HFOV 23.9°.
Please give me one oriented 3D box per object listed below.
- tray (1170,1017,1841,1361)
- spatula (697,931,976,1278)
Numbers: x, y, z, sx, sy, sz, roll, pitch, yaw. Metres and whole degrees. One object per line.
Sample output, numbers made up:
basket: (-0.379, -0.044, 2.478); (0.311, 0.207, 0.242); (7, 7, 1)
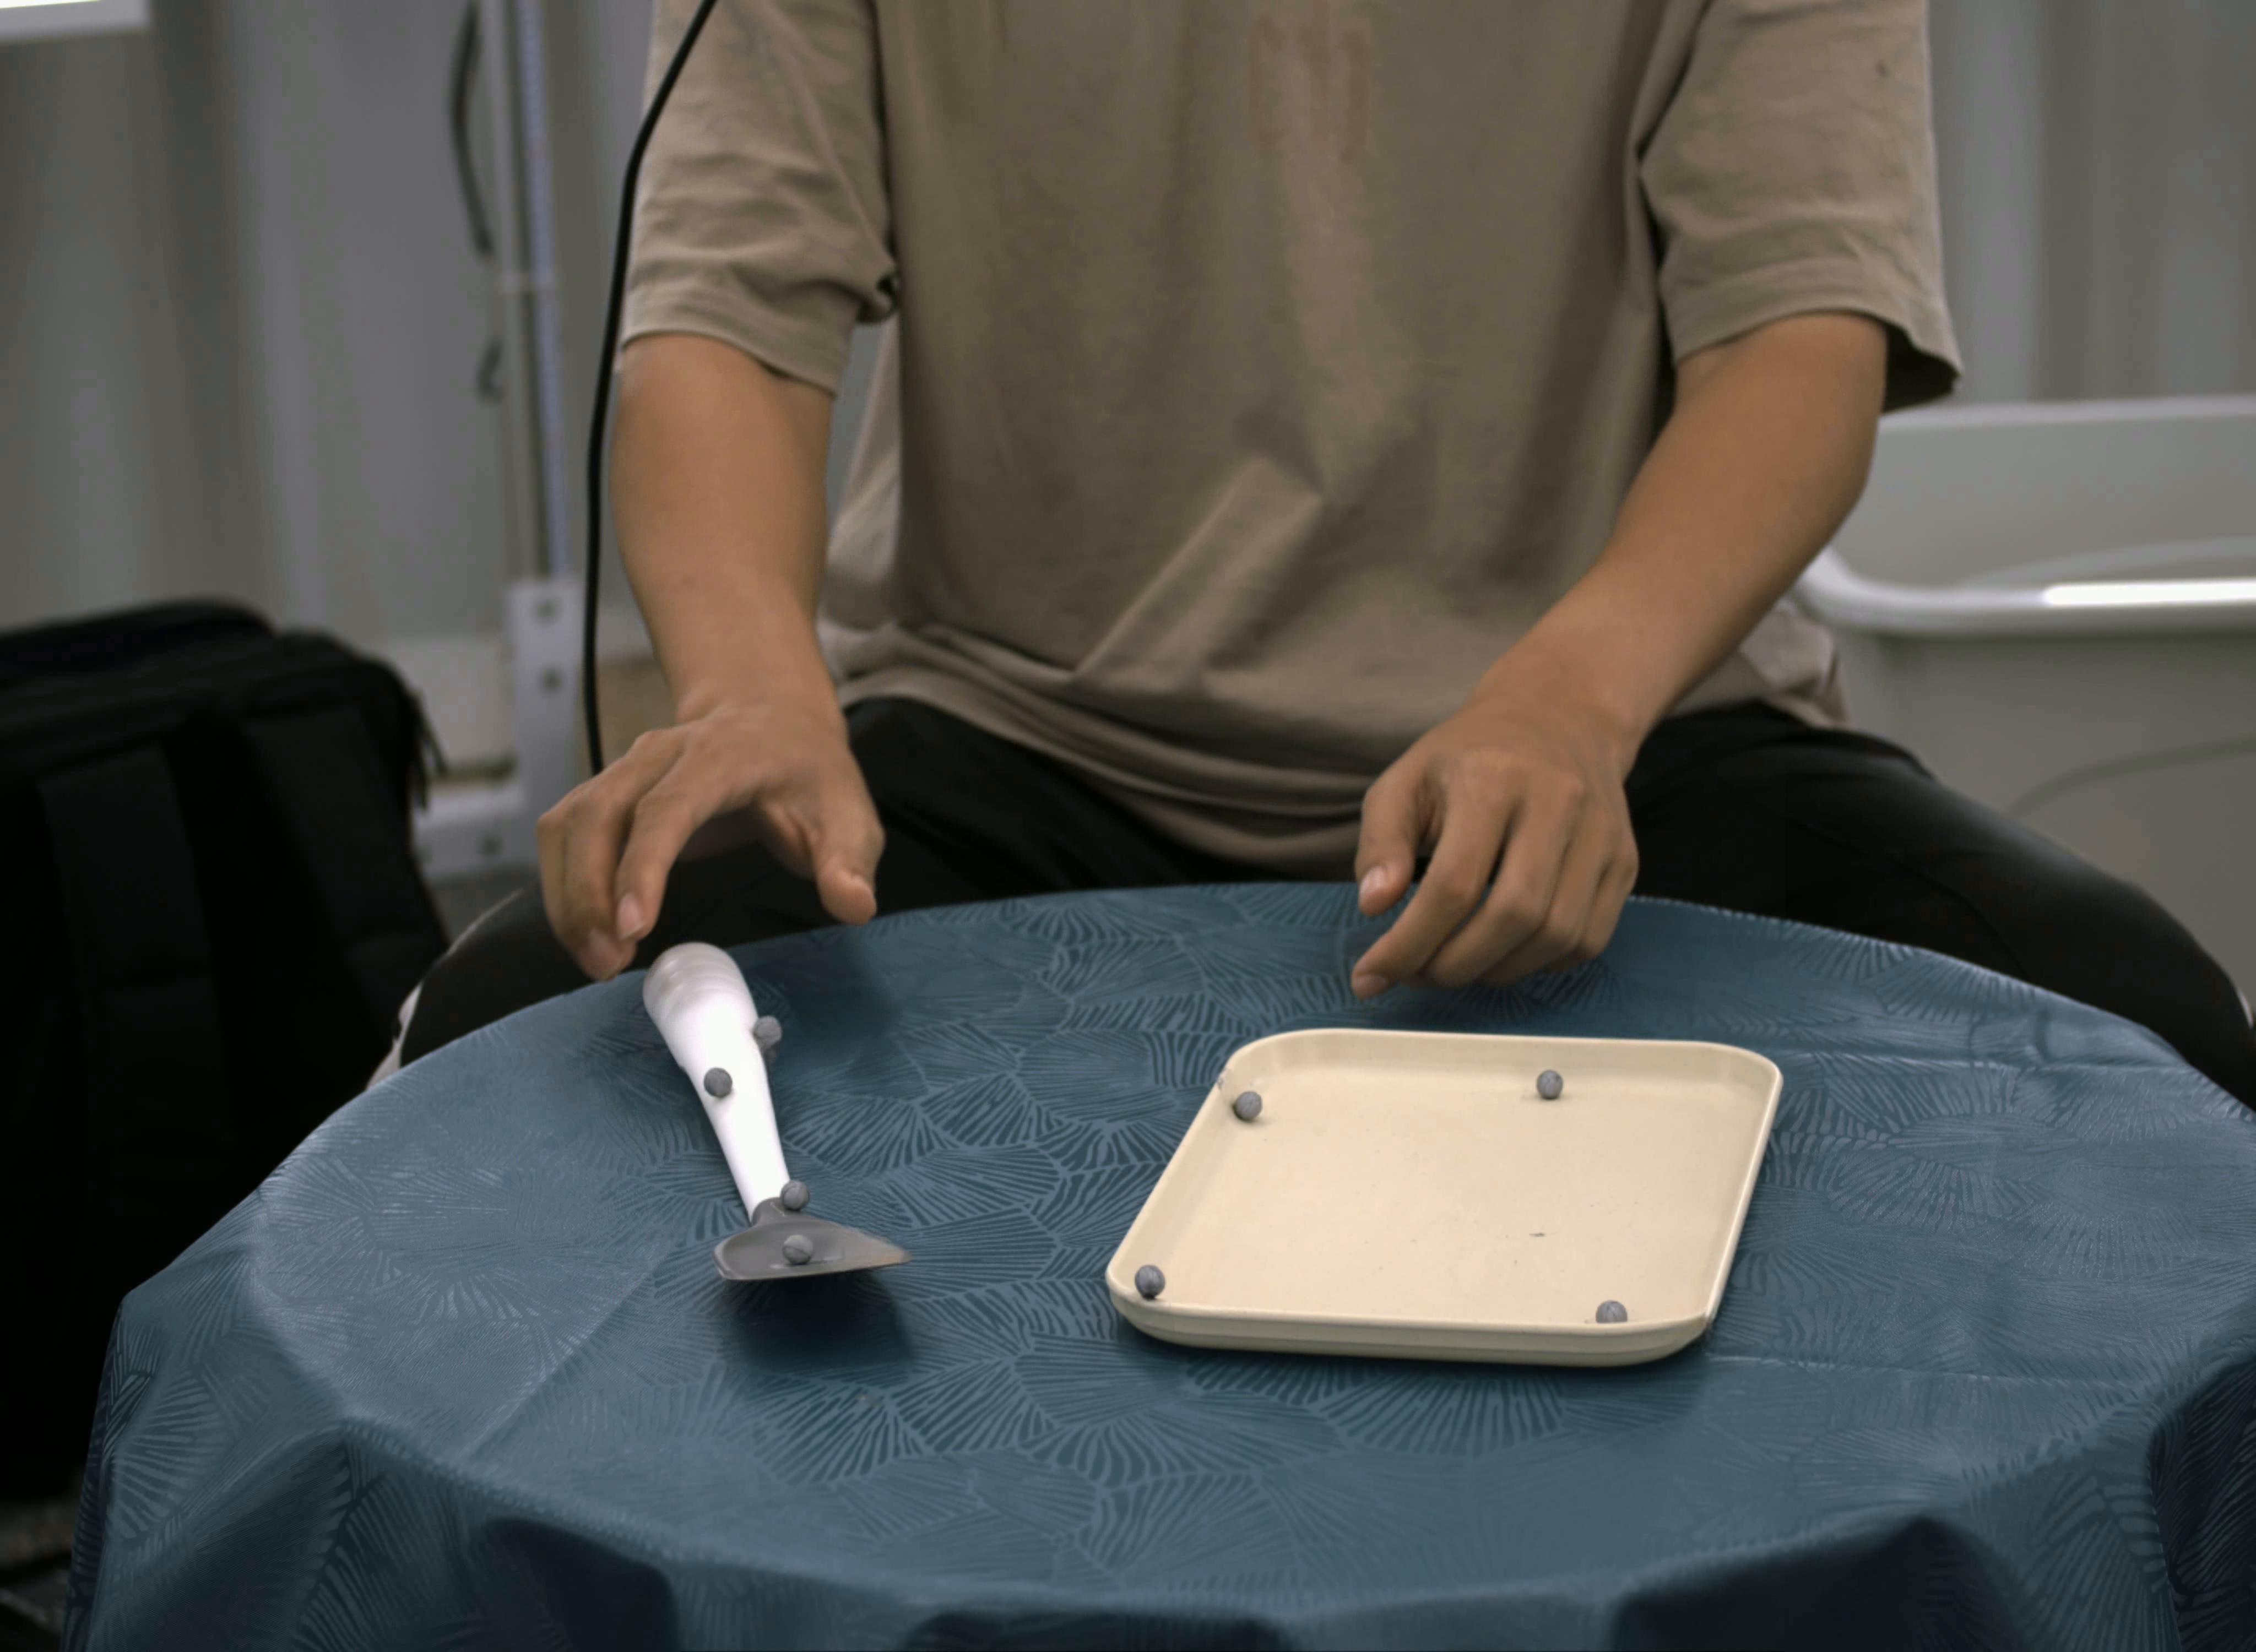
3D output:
tray: (0.113, 0.103, 1.516); (0.172, 0.017, 0.238); (2, 17, 13)
spatula: (-0.093, 0.087, 1.565); (0.058, 0.032, 0.291); (-1, 16, -11)
